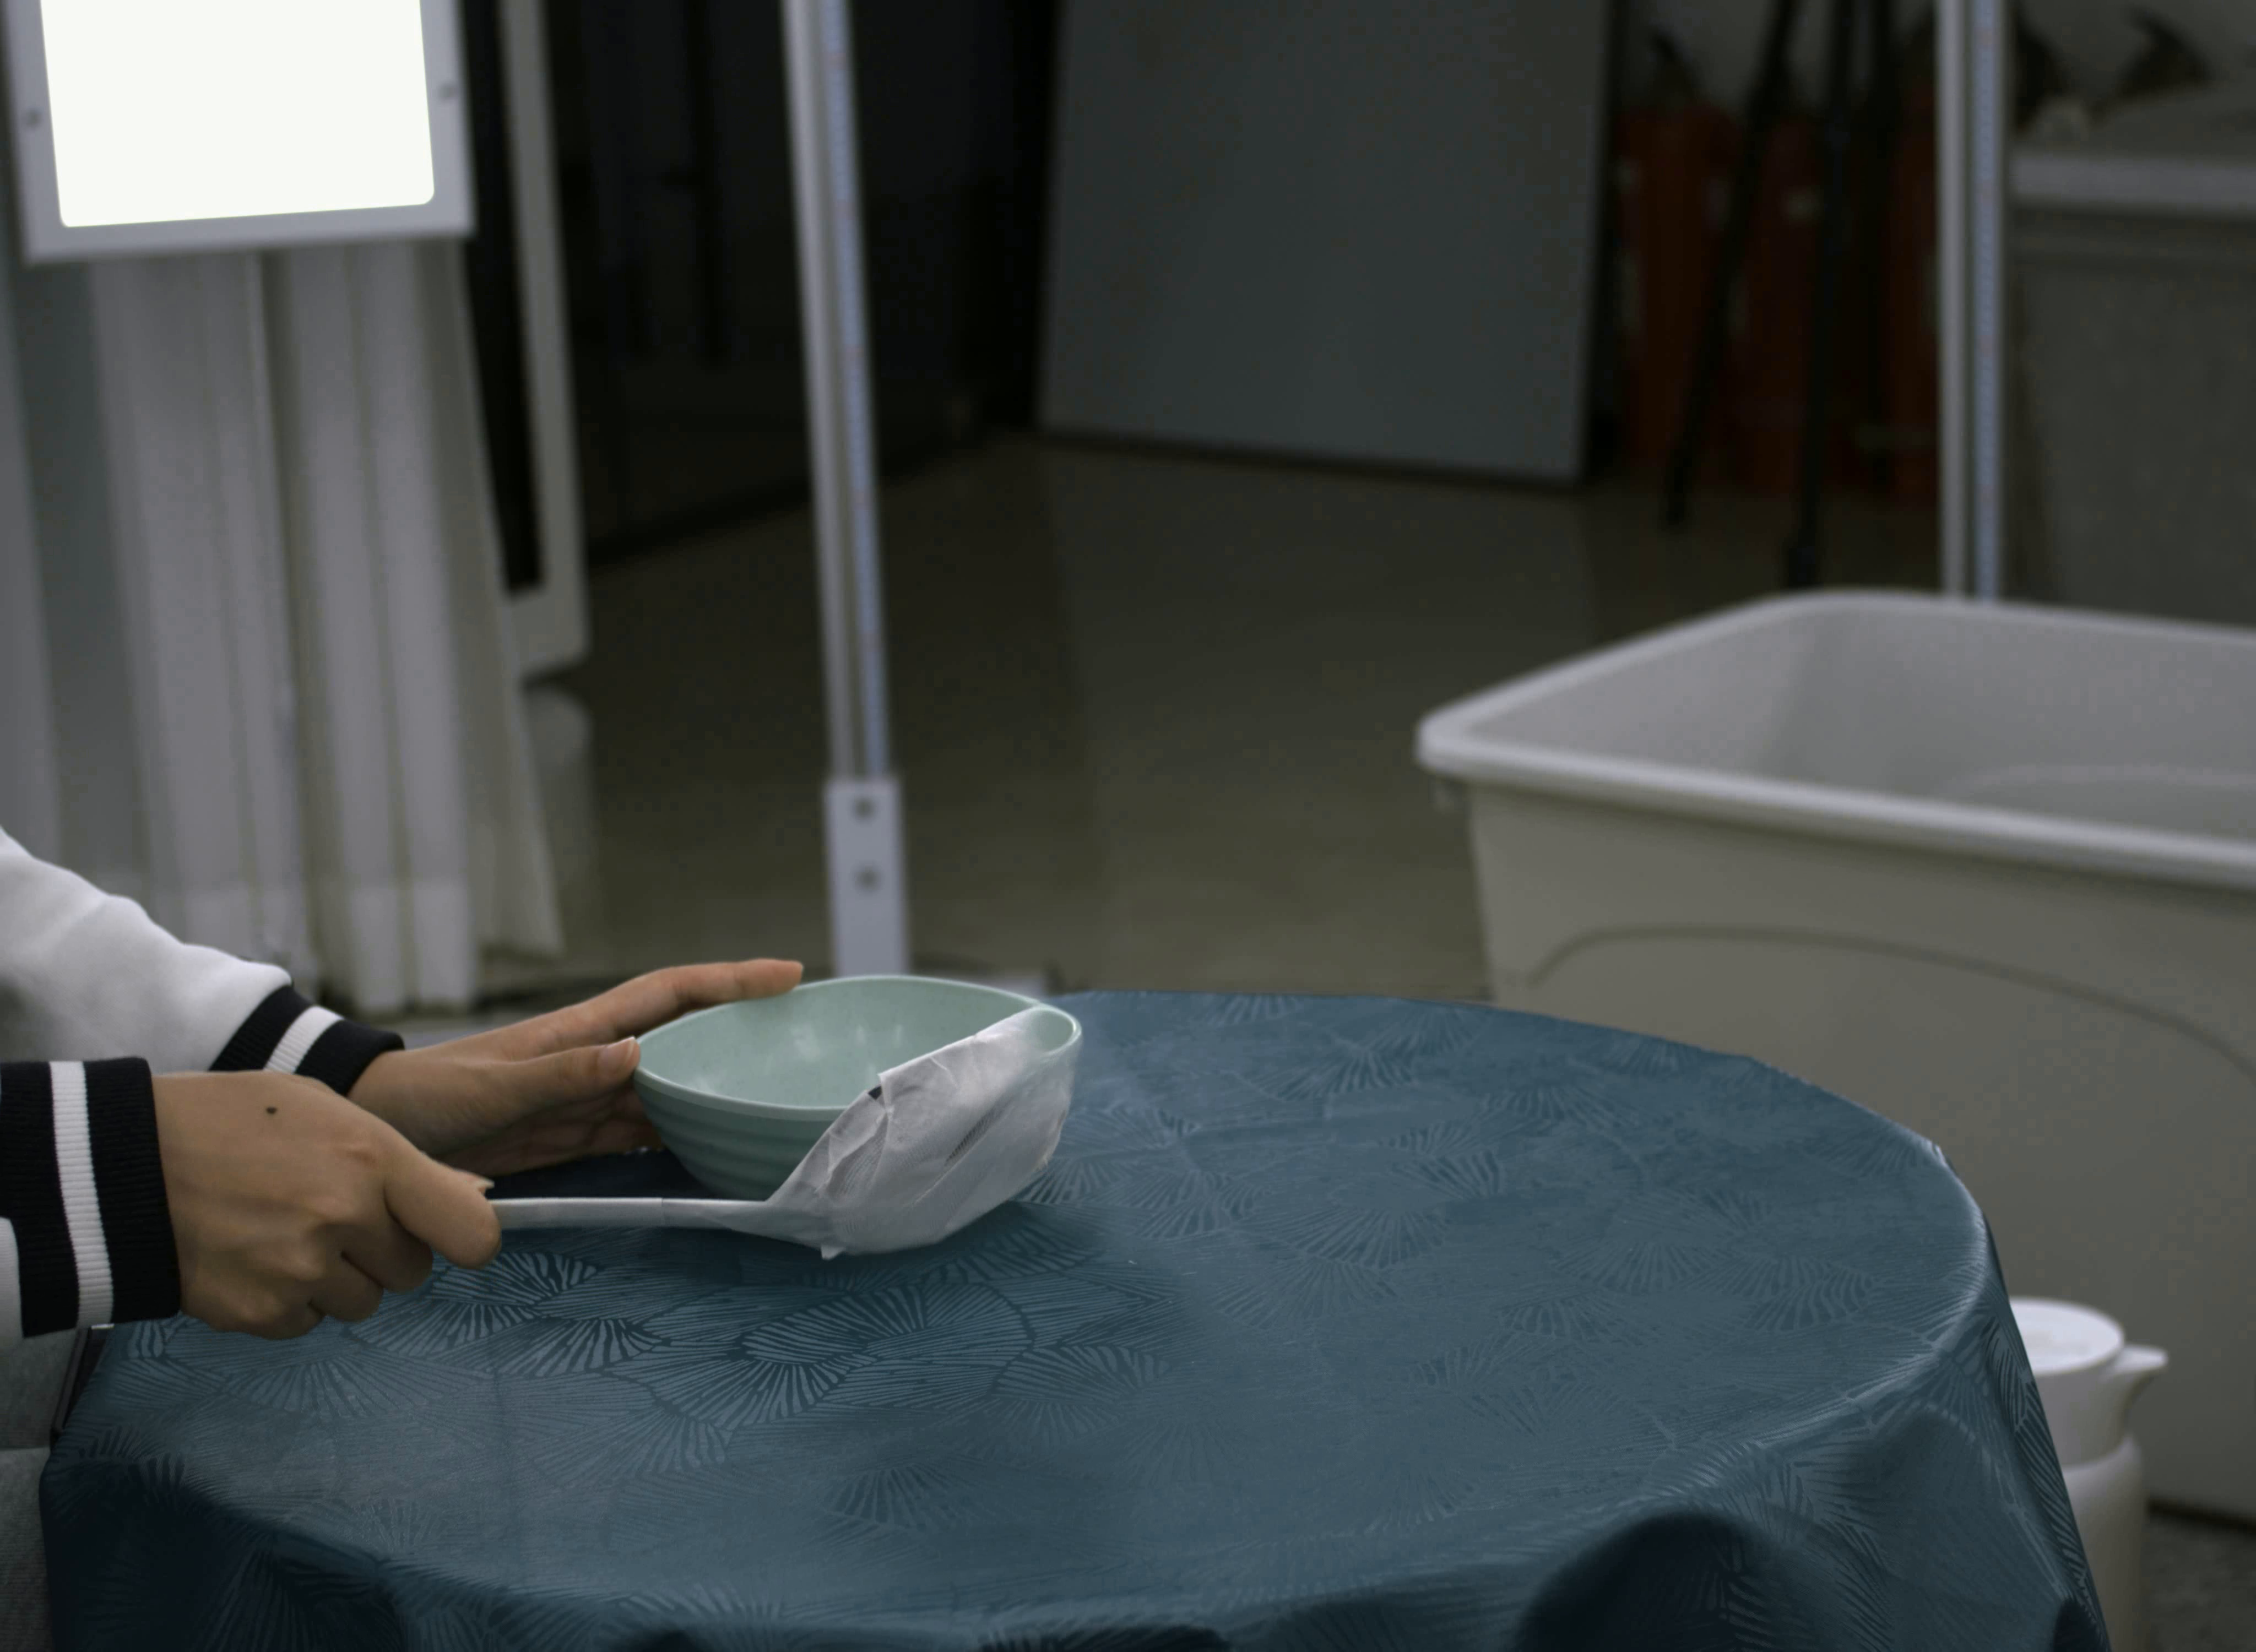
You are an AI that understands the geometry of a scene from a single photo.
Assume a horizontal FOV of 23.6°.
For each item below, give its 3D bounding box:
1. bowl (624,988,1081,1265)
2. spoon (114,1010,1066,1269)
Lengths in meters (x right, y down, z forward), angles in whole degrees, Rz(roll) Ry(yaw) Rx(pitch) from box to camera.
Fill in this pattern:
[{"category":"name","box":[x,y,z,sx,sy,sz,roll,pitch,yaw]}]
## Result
[{"category":"bowl","box":[-0.088,0.101,1.769,0.149,0.059,0.152,-4,14,0]},{"category":"spoon","box":[-0.154,0.096,1.562,0.275,0.100,0.060,-2,50,10]}]
